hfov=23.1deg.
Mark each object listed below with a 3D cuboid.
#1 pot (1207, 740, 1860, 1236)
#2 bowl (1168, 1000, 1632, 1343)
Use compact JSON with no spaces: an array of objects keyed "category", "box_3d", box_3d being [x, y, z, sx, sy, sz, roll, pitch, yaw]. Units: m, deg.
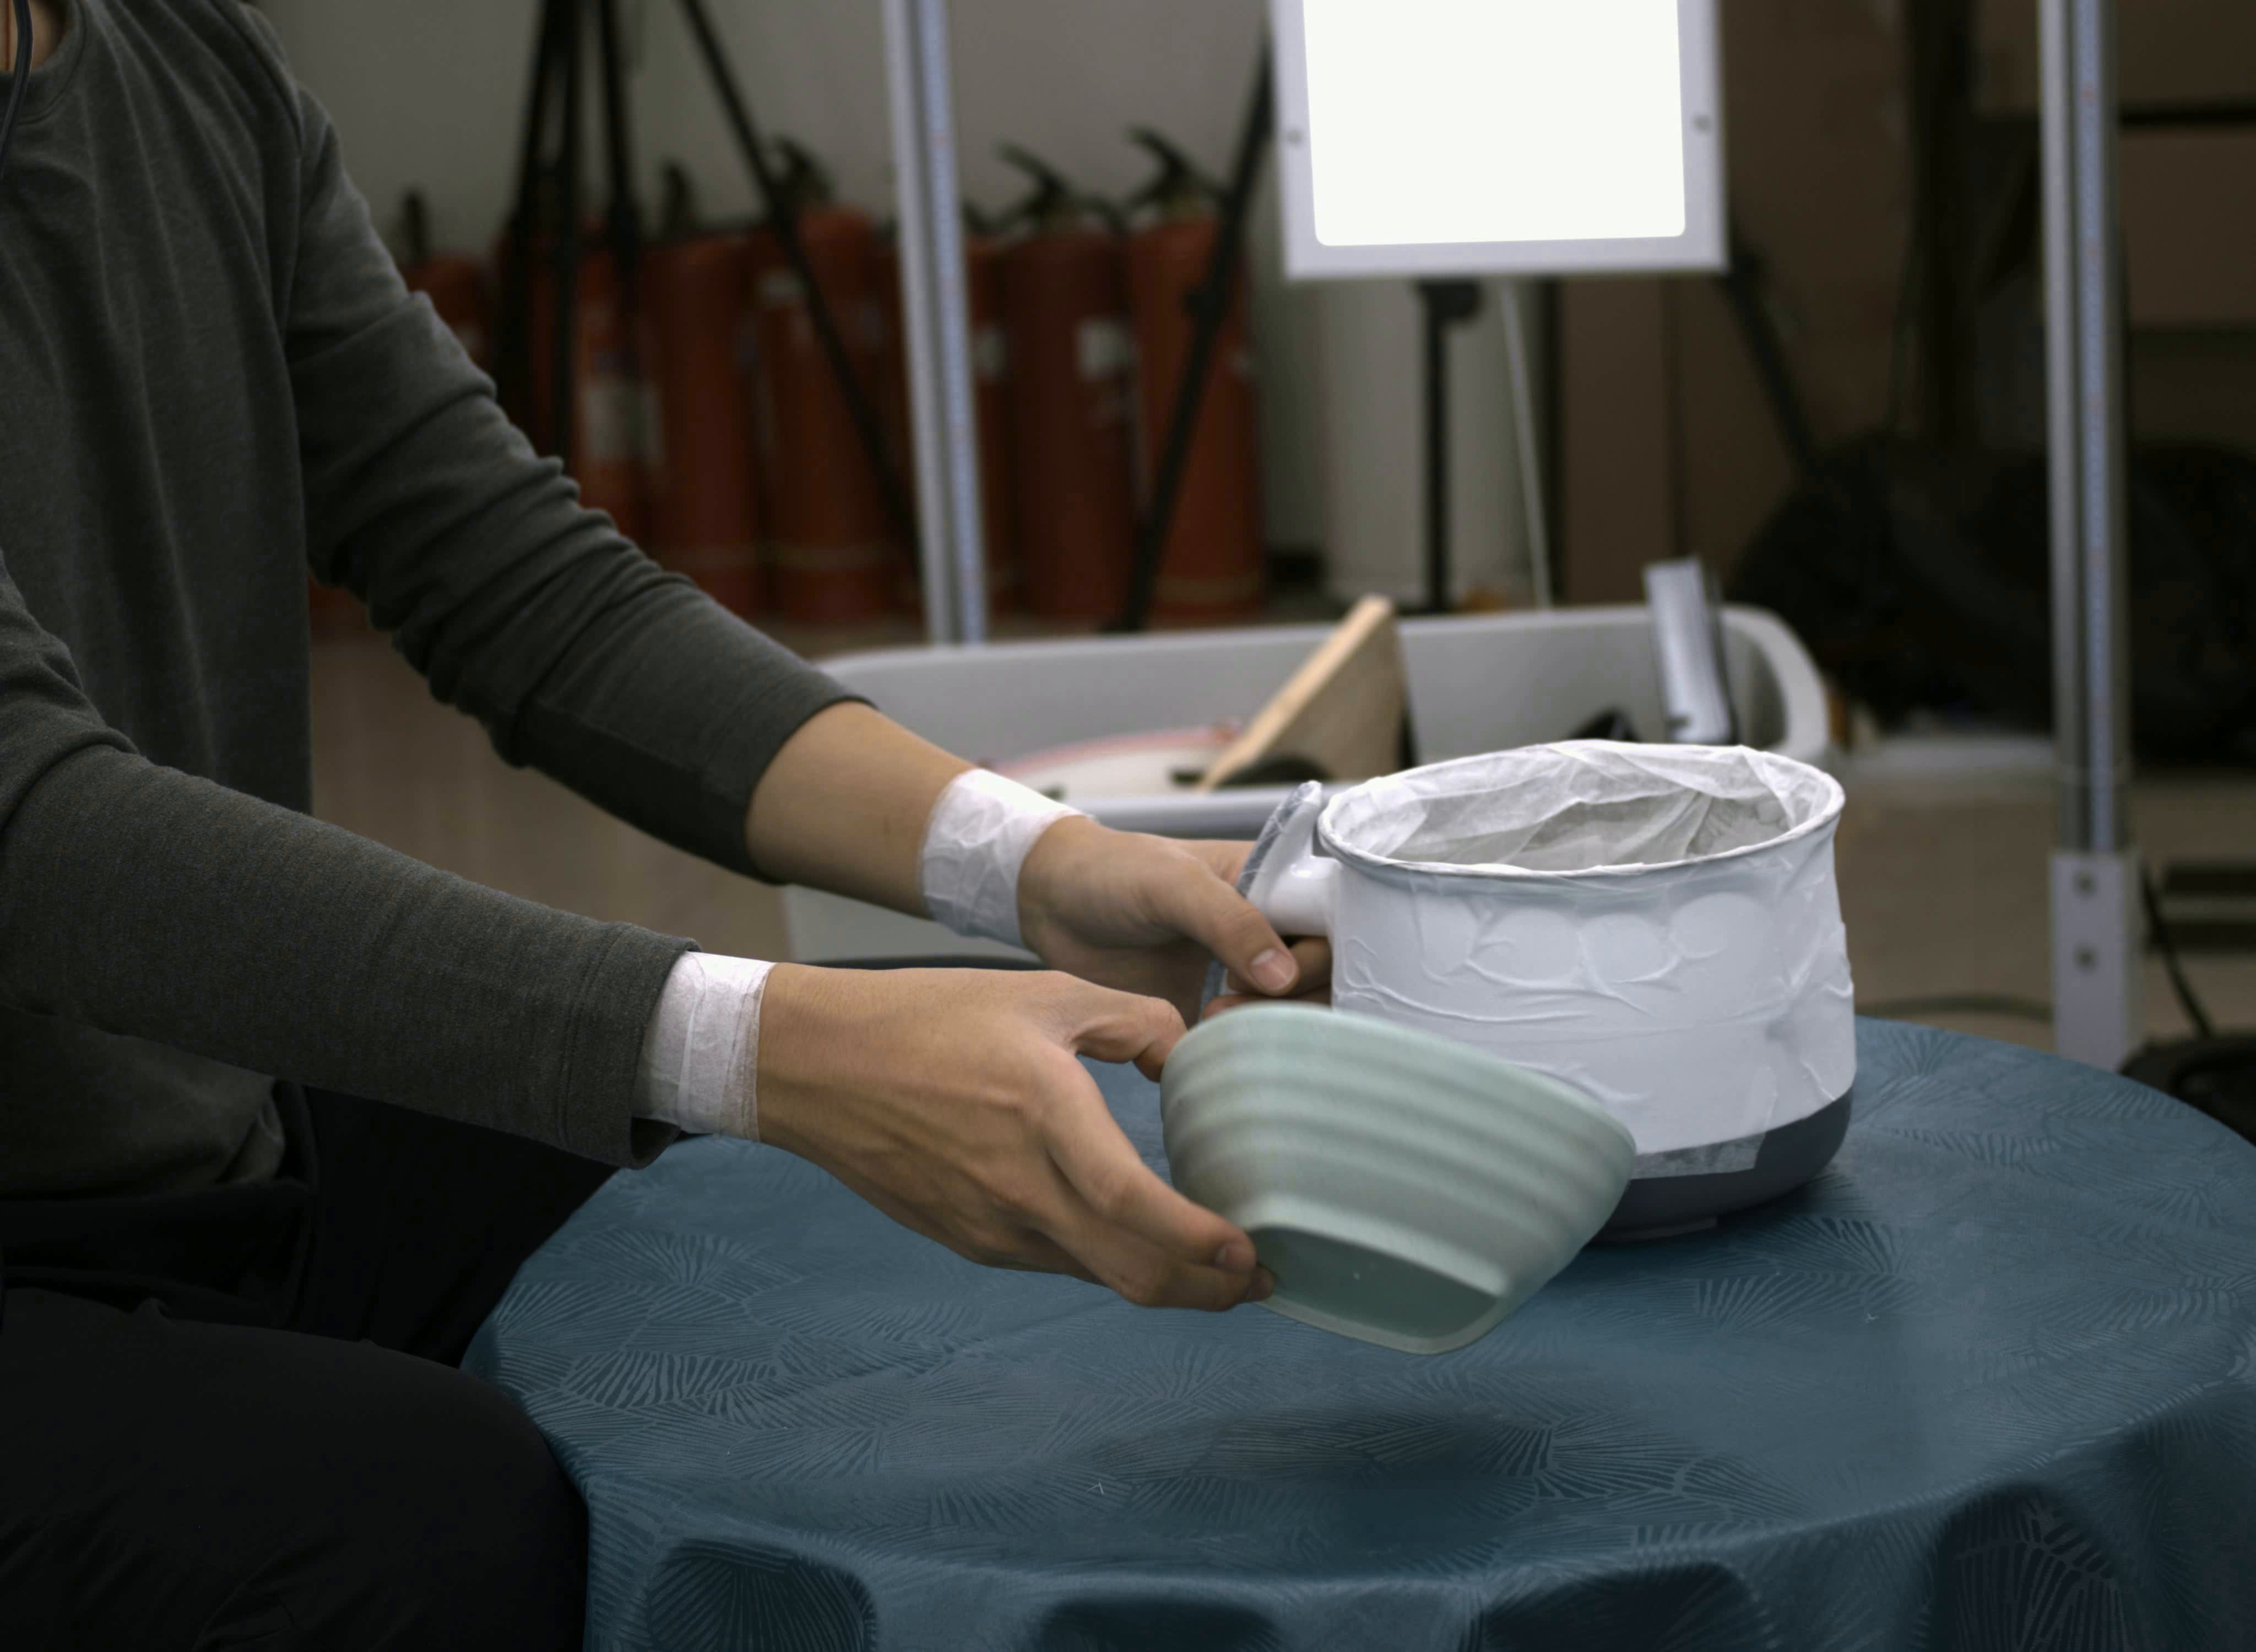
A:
[{"category":"pot","box_3d":[0.133,0.052,1.865,0.237,0.137,0.175,2,15,26]},{"category":"bowl","box_3d":[0.071,0.107,1.609,0.151,0.058,0.152,20,-16,4]}]
